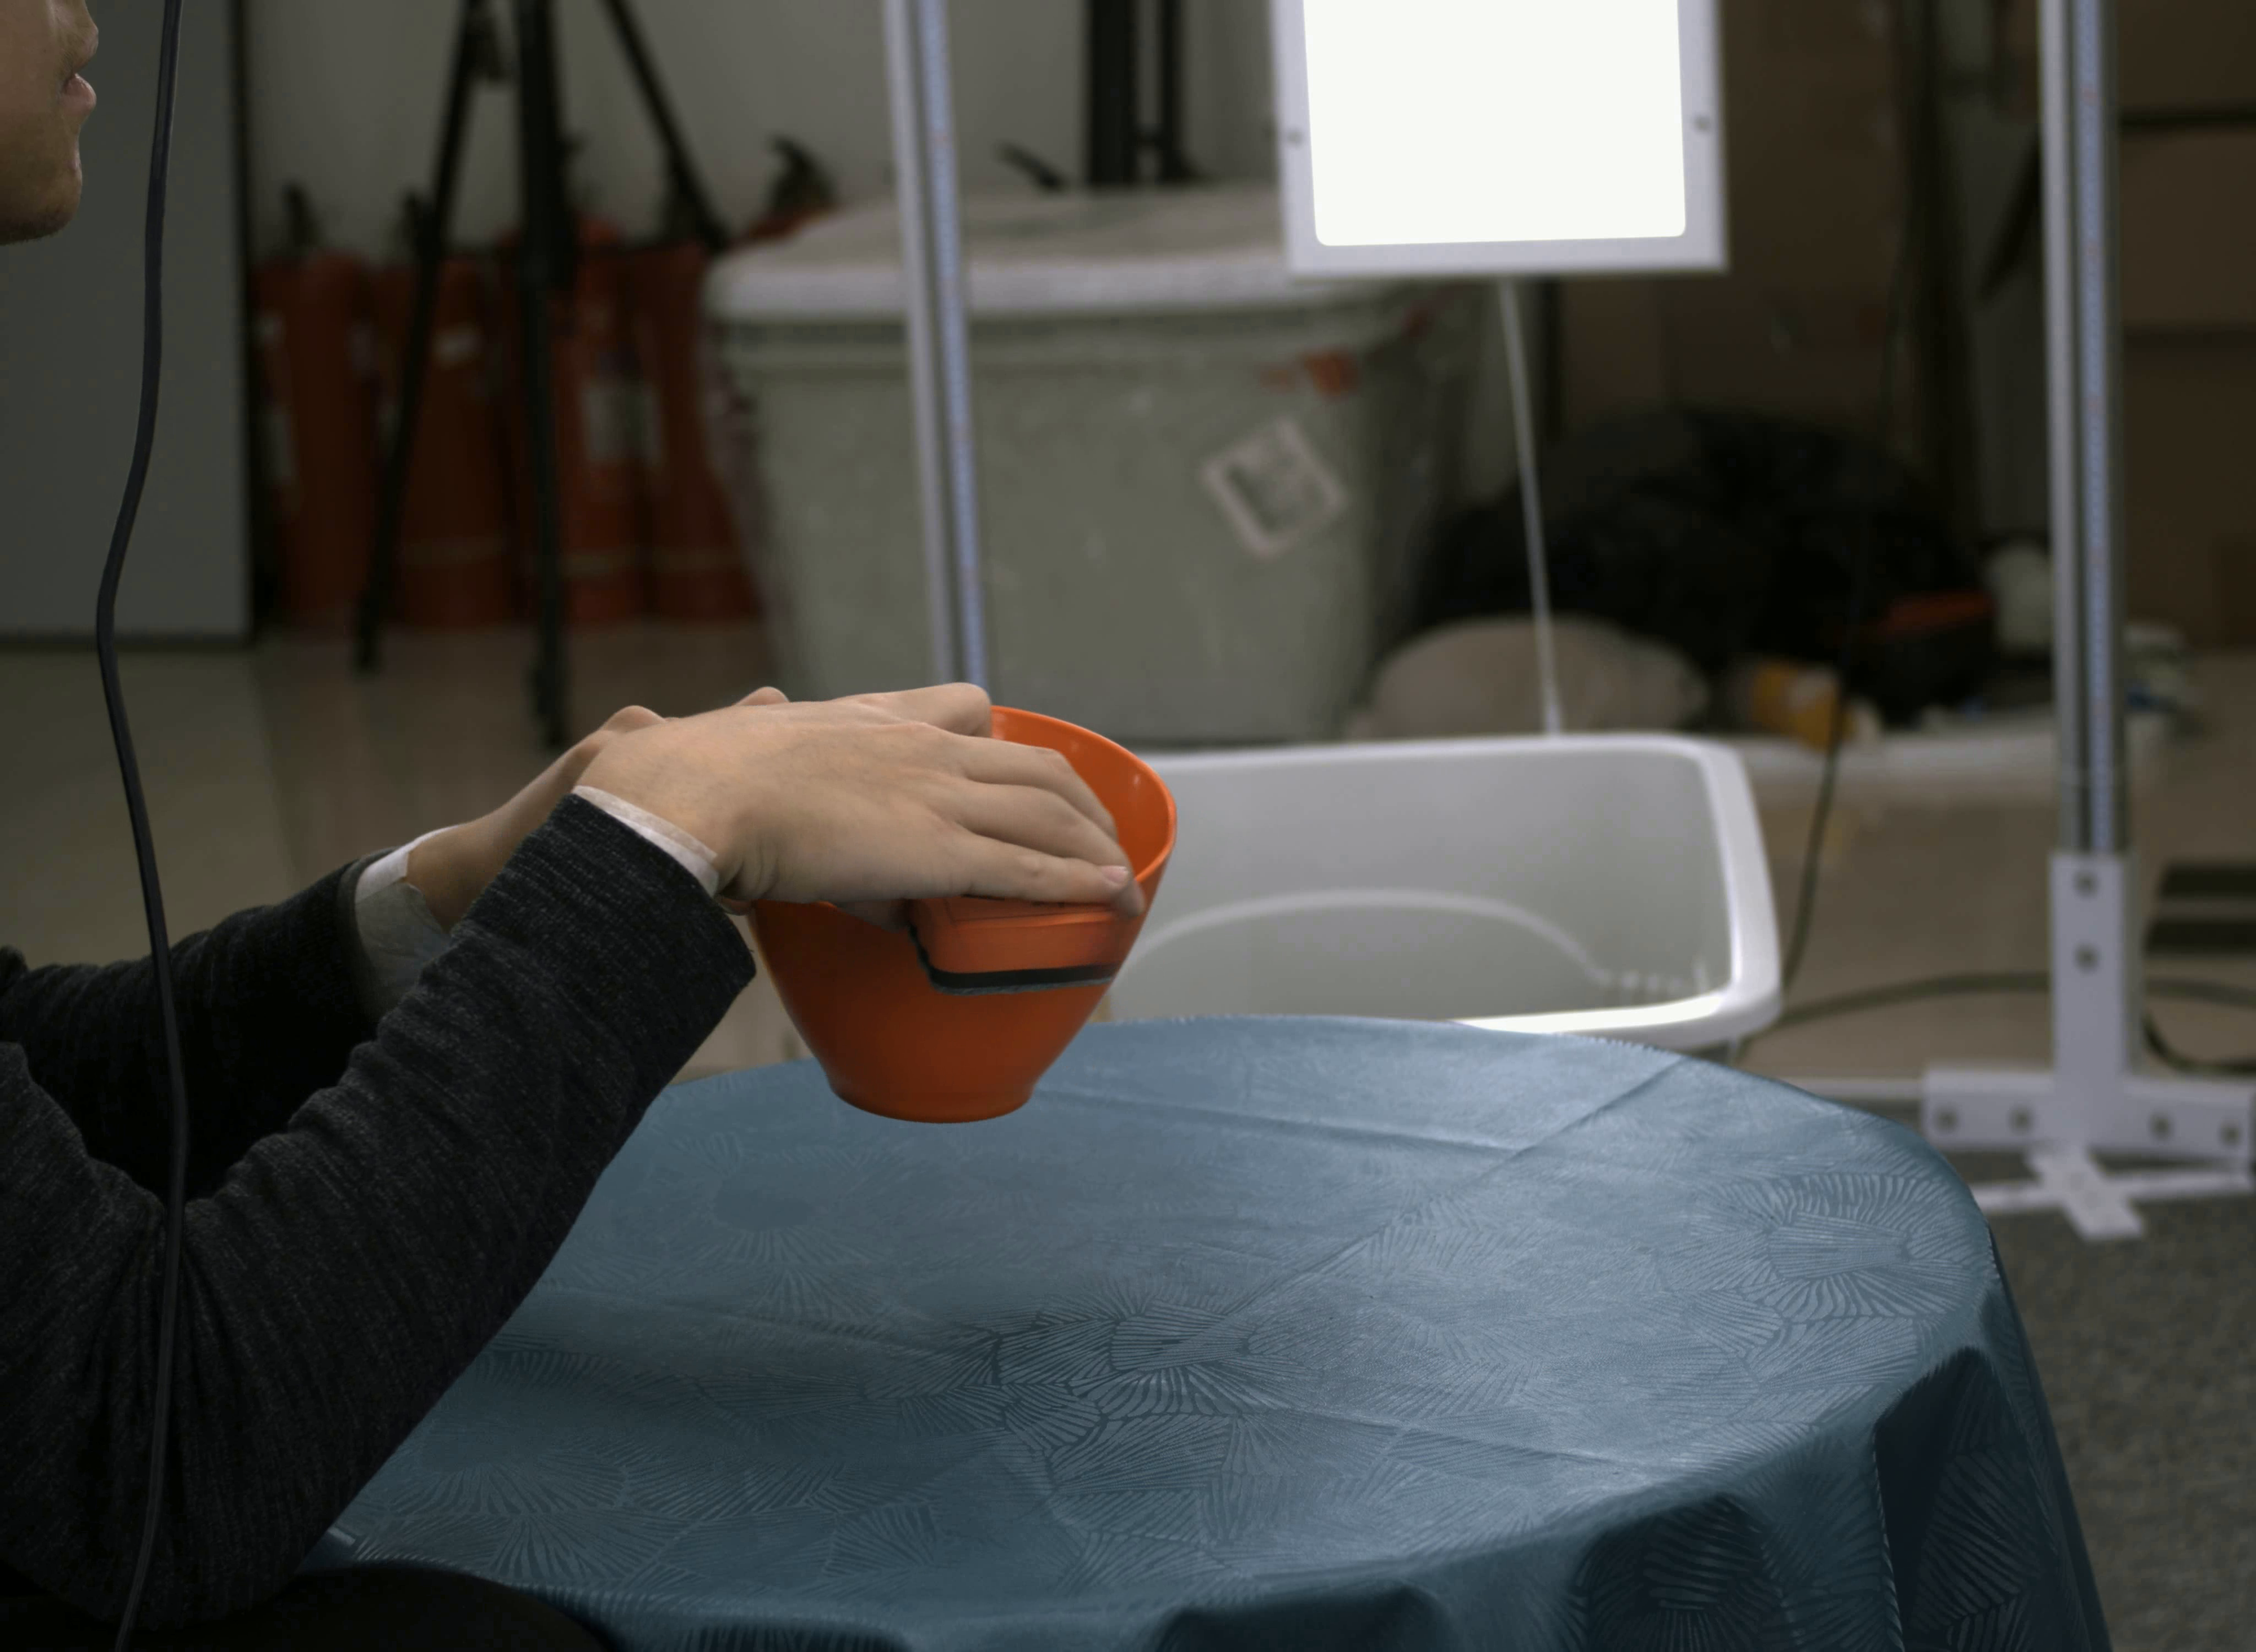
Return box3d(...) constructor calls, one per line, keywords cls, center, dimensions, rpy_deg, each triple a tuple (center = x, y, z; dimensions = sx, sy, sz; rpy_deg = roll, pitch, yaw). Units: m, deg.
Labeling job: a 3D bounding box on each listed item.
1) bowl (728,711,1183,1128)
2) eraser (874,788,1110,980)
box3d(cls="bowl", center=(-0.058, 0.034, 1.780), dimensions=(0.147, 0.105, 0.148), rpy_deg=(3, 18, -2))
box3d(cls="eraser", center=(-0.042, 0.017, 1.694), dimensions=(0.058, 0.023, 0.108), rpy_deg=(-3, 21, -11))
